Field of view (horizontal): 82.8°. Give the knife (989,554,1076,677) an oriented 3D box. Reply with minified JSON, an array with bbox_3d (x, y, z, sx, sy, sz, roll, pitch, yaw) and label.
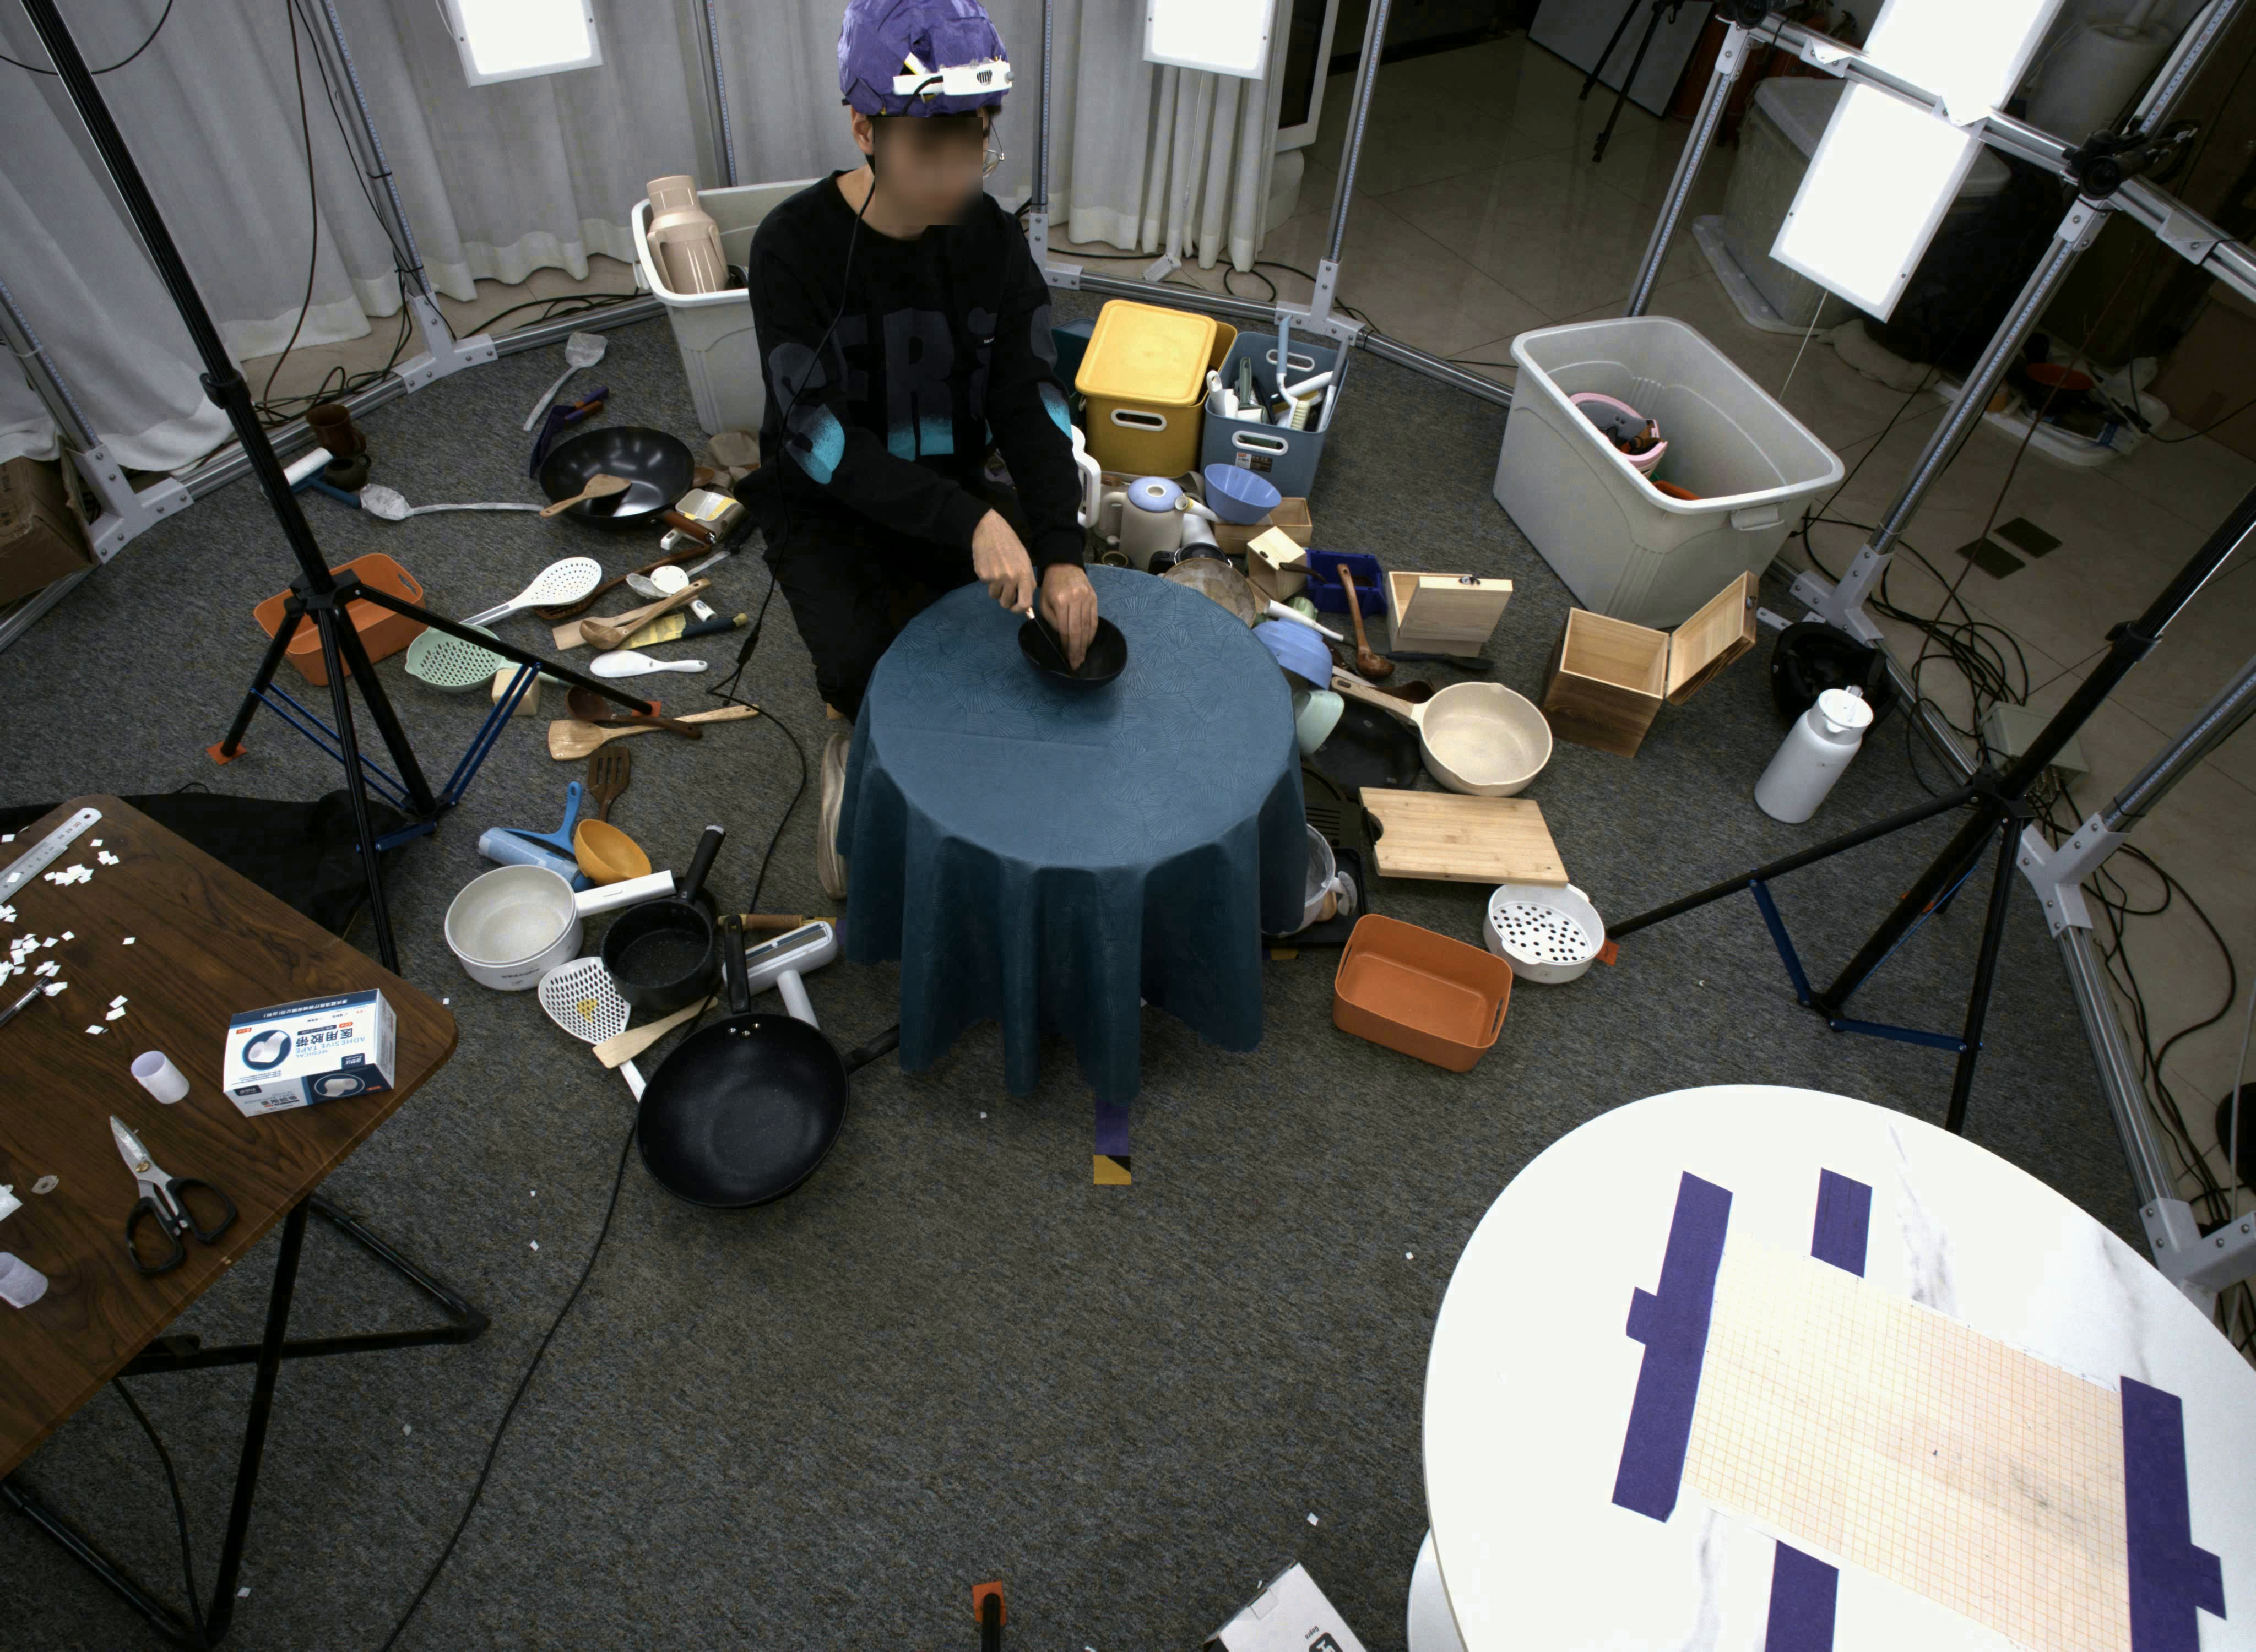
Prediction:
[{"bbox_3d":[-0.128,-0.289,1.821,0.017,0.026,0.225,-35,90,-13],"label":"knife"}]

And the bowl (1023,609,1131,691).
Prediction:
[{"bbox_3d":[-0.075,-0.240,1.830,0.172,0.065,0.139,31,54,24],"label":"bowl"}]
